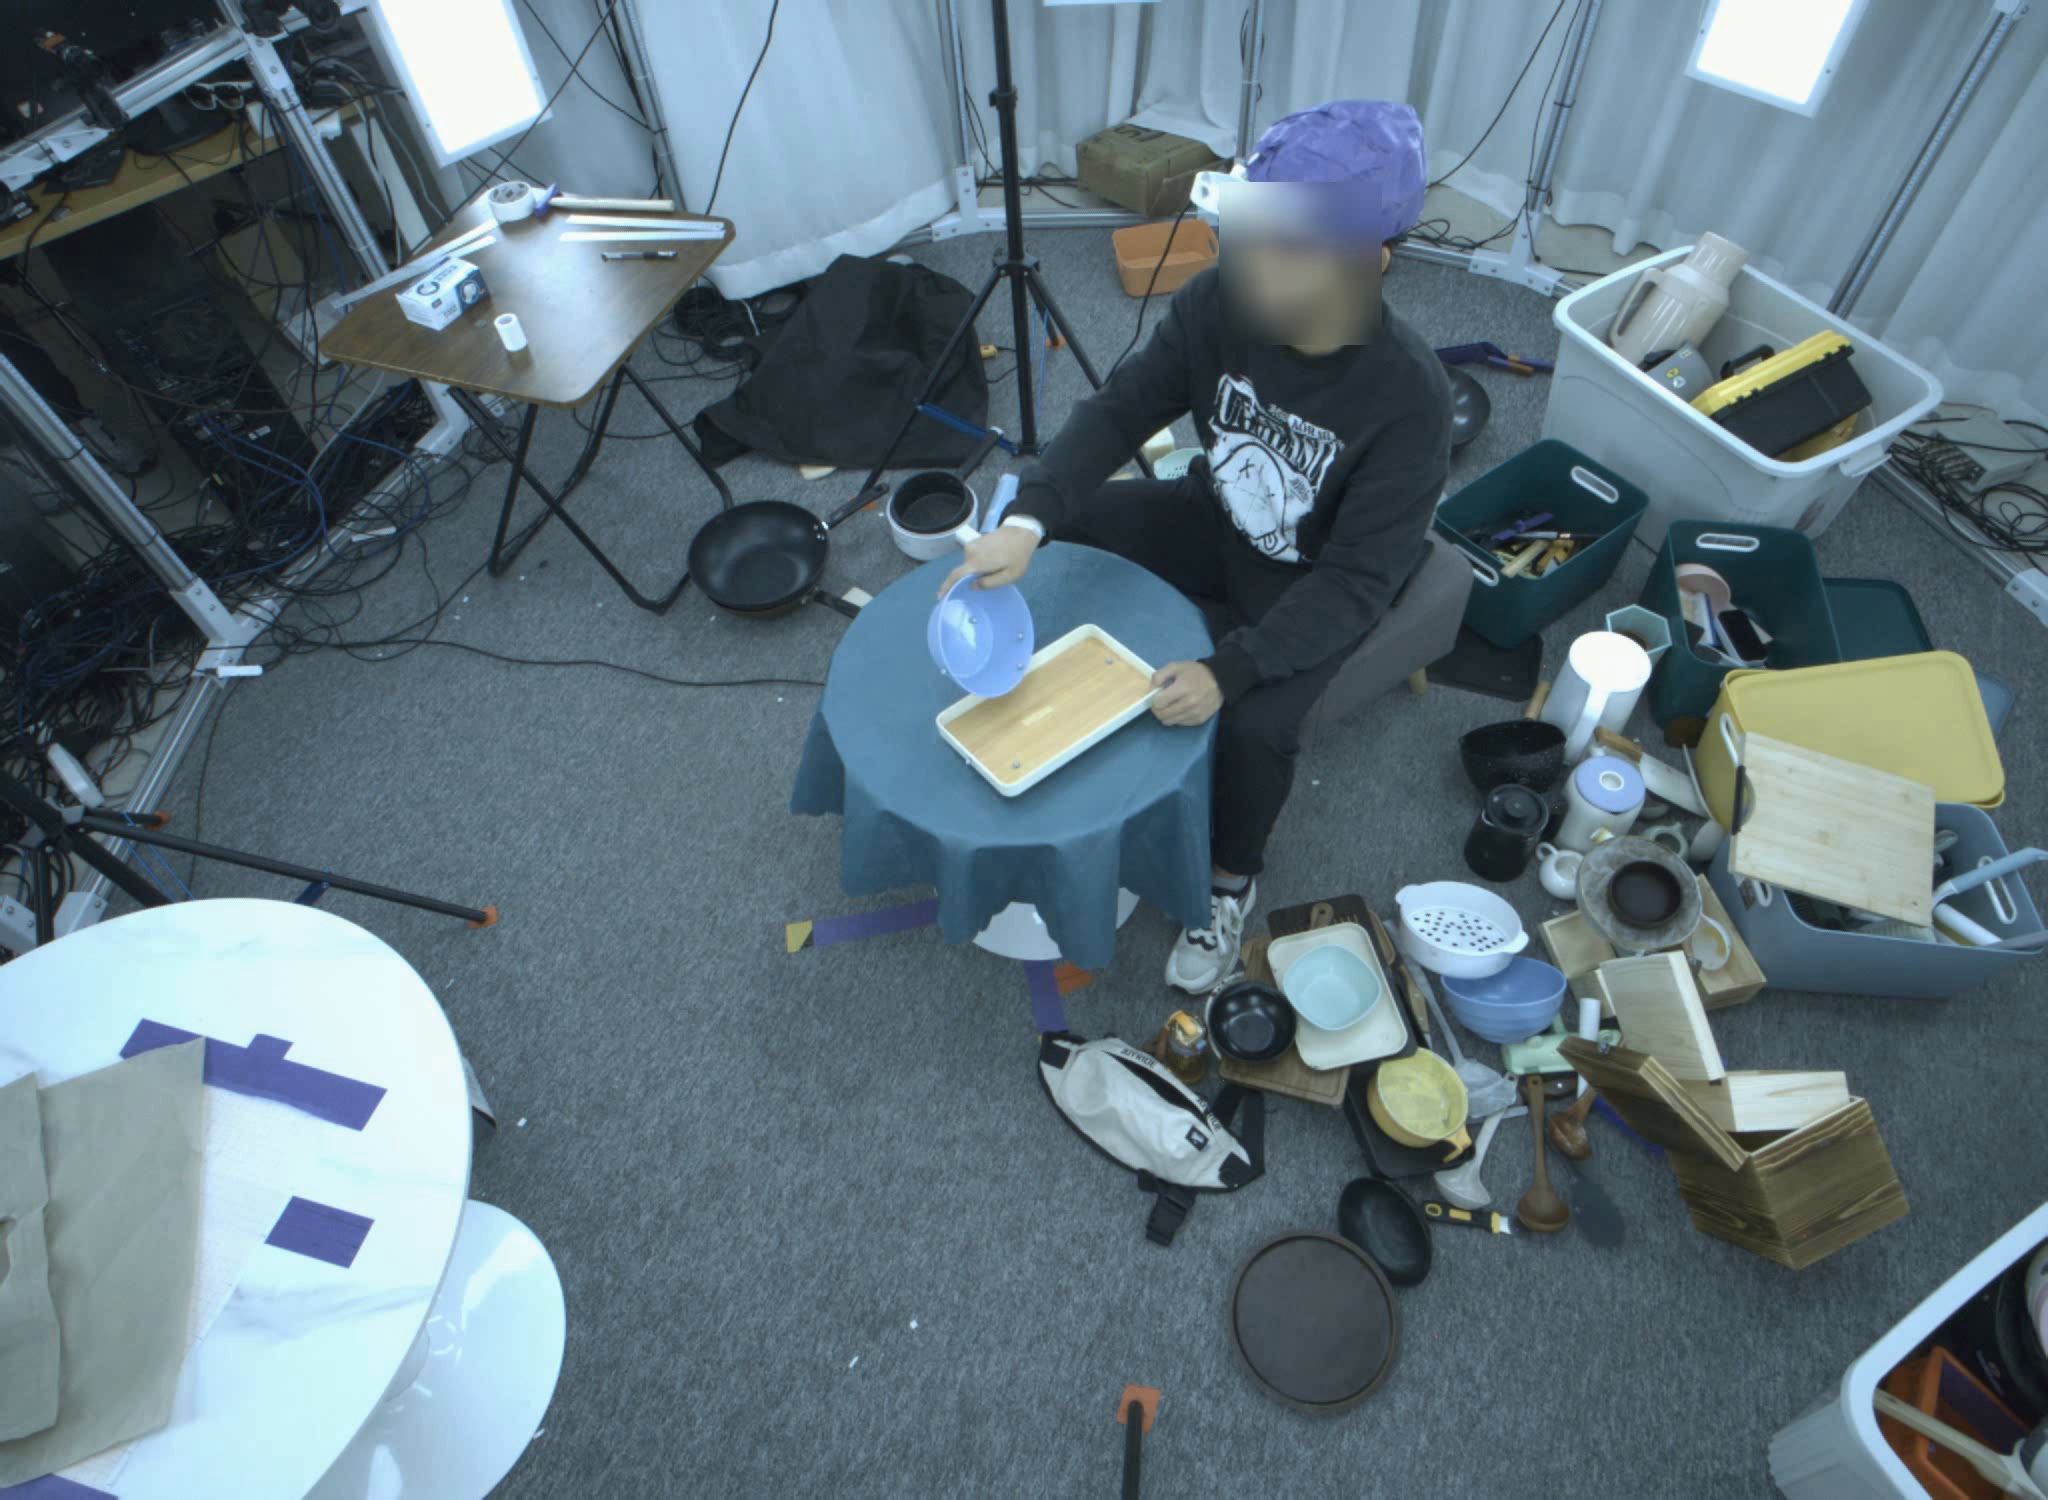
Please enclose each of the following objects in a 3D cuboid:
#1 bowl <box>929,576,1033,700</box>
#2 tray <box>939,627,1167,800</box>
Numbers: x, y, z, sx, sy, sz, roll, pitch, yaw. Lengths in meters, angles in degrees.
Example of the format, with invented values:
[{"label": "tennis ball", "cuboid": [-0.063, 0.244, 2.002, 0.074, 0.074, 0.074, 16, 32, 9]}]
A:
[{"label": "bowl", "cuboid": [-0.071, -0.158, 1.754, 0.069, 0.179, 0.176, 3, 48, 46]}, {"label": "tray", "cuboid": [0.043, -0.059, 1.808, 0.302, 0.028, 0.187, -33, 52, -19]}]
